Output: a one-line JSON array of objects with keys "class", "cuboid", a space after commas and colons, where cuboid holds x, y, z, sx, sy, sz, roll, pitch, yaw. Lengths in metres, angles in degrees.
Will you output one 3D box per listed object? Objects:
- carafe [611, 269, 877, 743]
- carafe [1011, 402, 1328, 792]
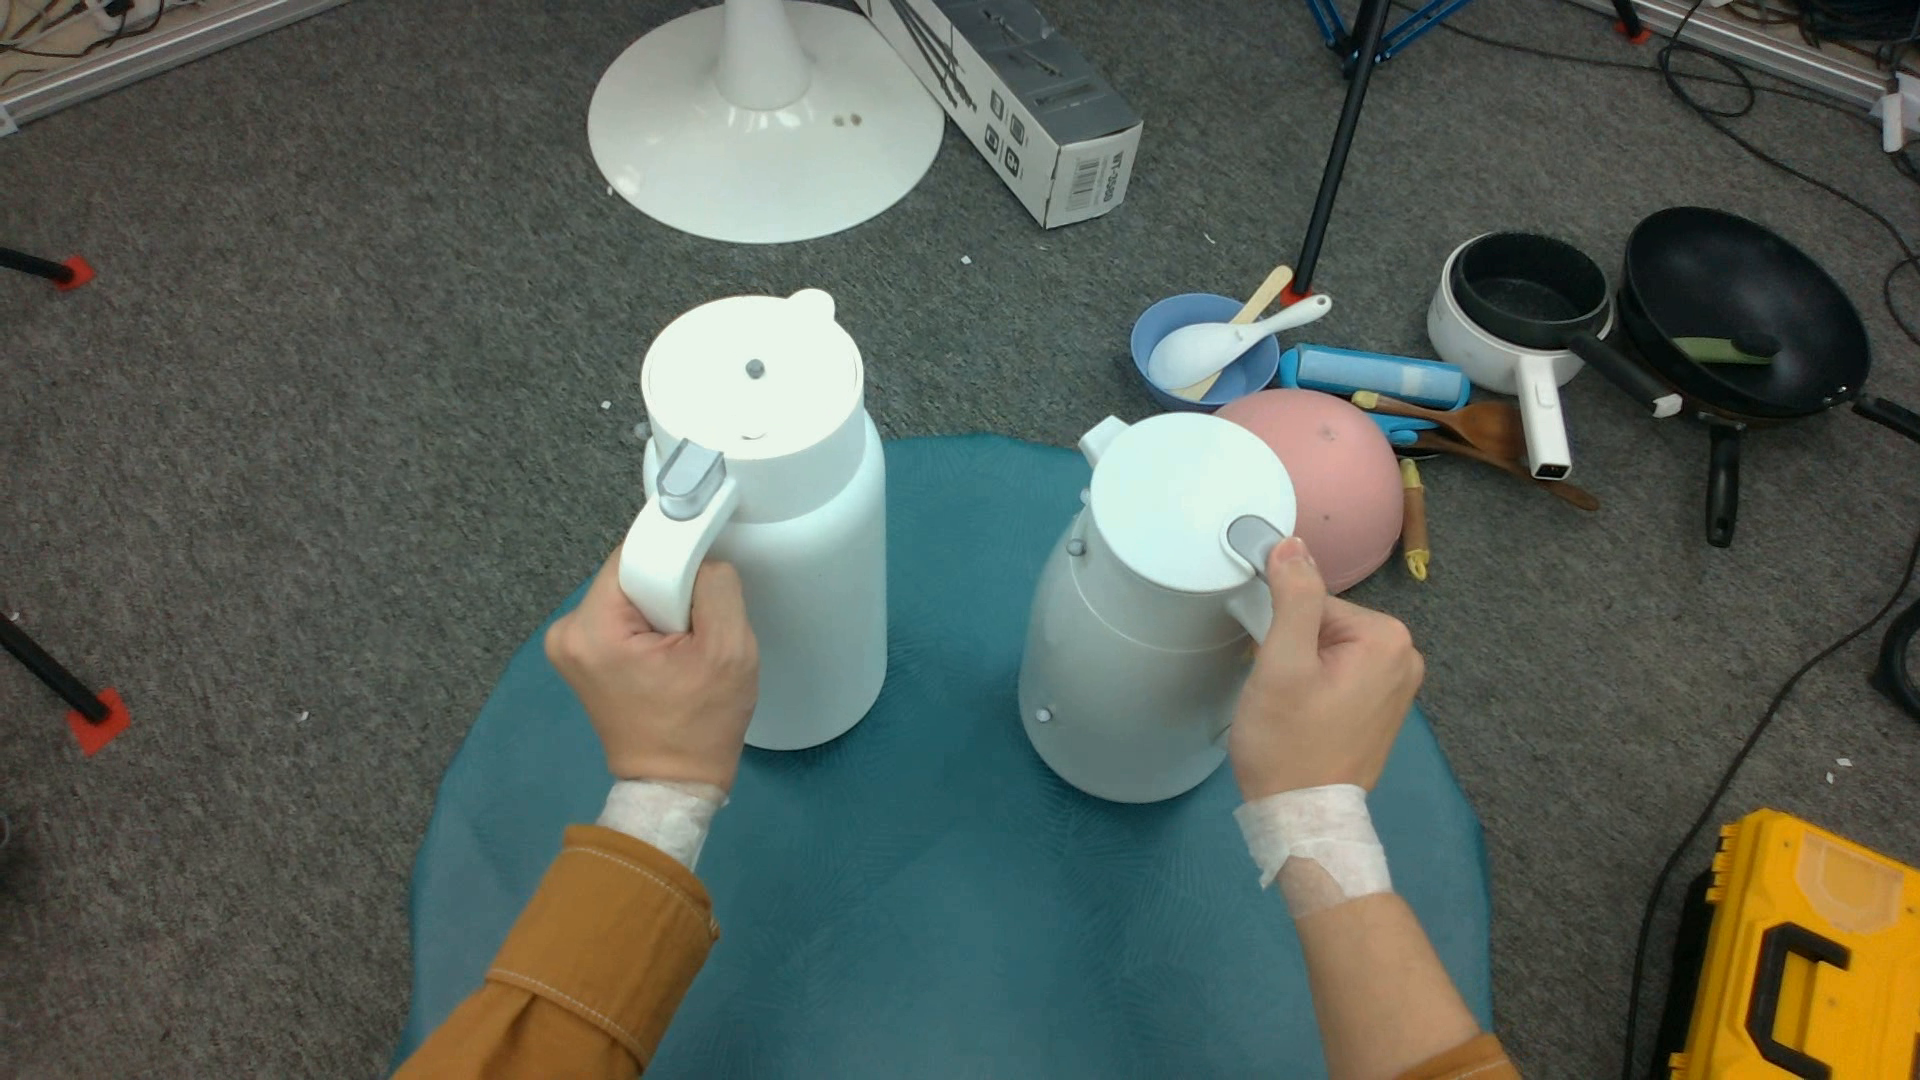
[{"class": "carafe", "cuboid": [-0.108, 0.010, 0.710, 0.124, 0.267, 0.173, 20, 56, 8]}, {"class": "carafe", "cuboid": [0.111, 0.042, 0.704, 0.133, 0.247, 0.168, -38, 70, -19]}]
